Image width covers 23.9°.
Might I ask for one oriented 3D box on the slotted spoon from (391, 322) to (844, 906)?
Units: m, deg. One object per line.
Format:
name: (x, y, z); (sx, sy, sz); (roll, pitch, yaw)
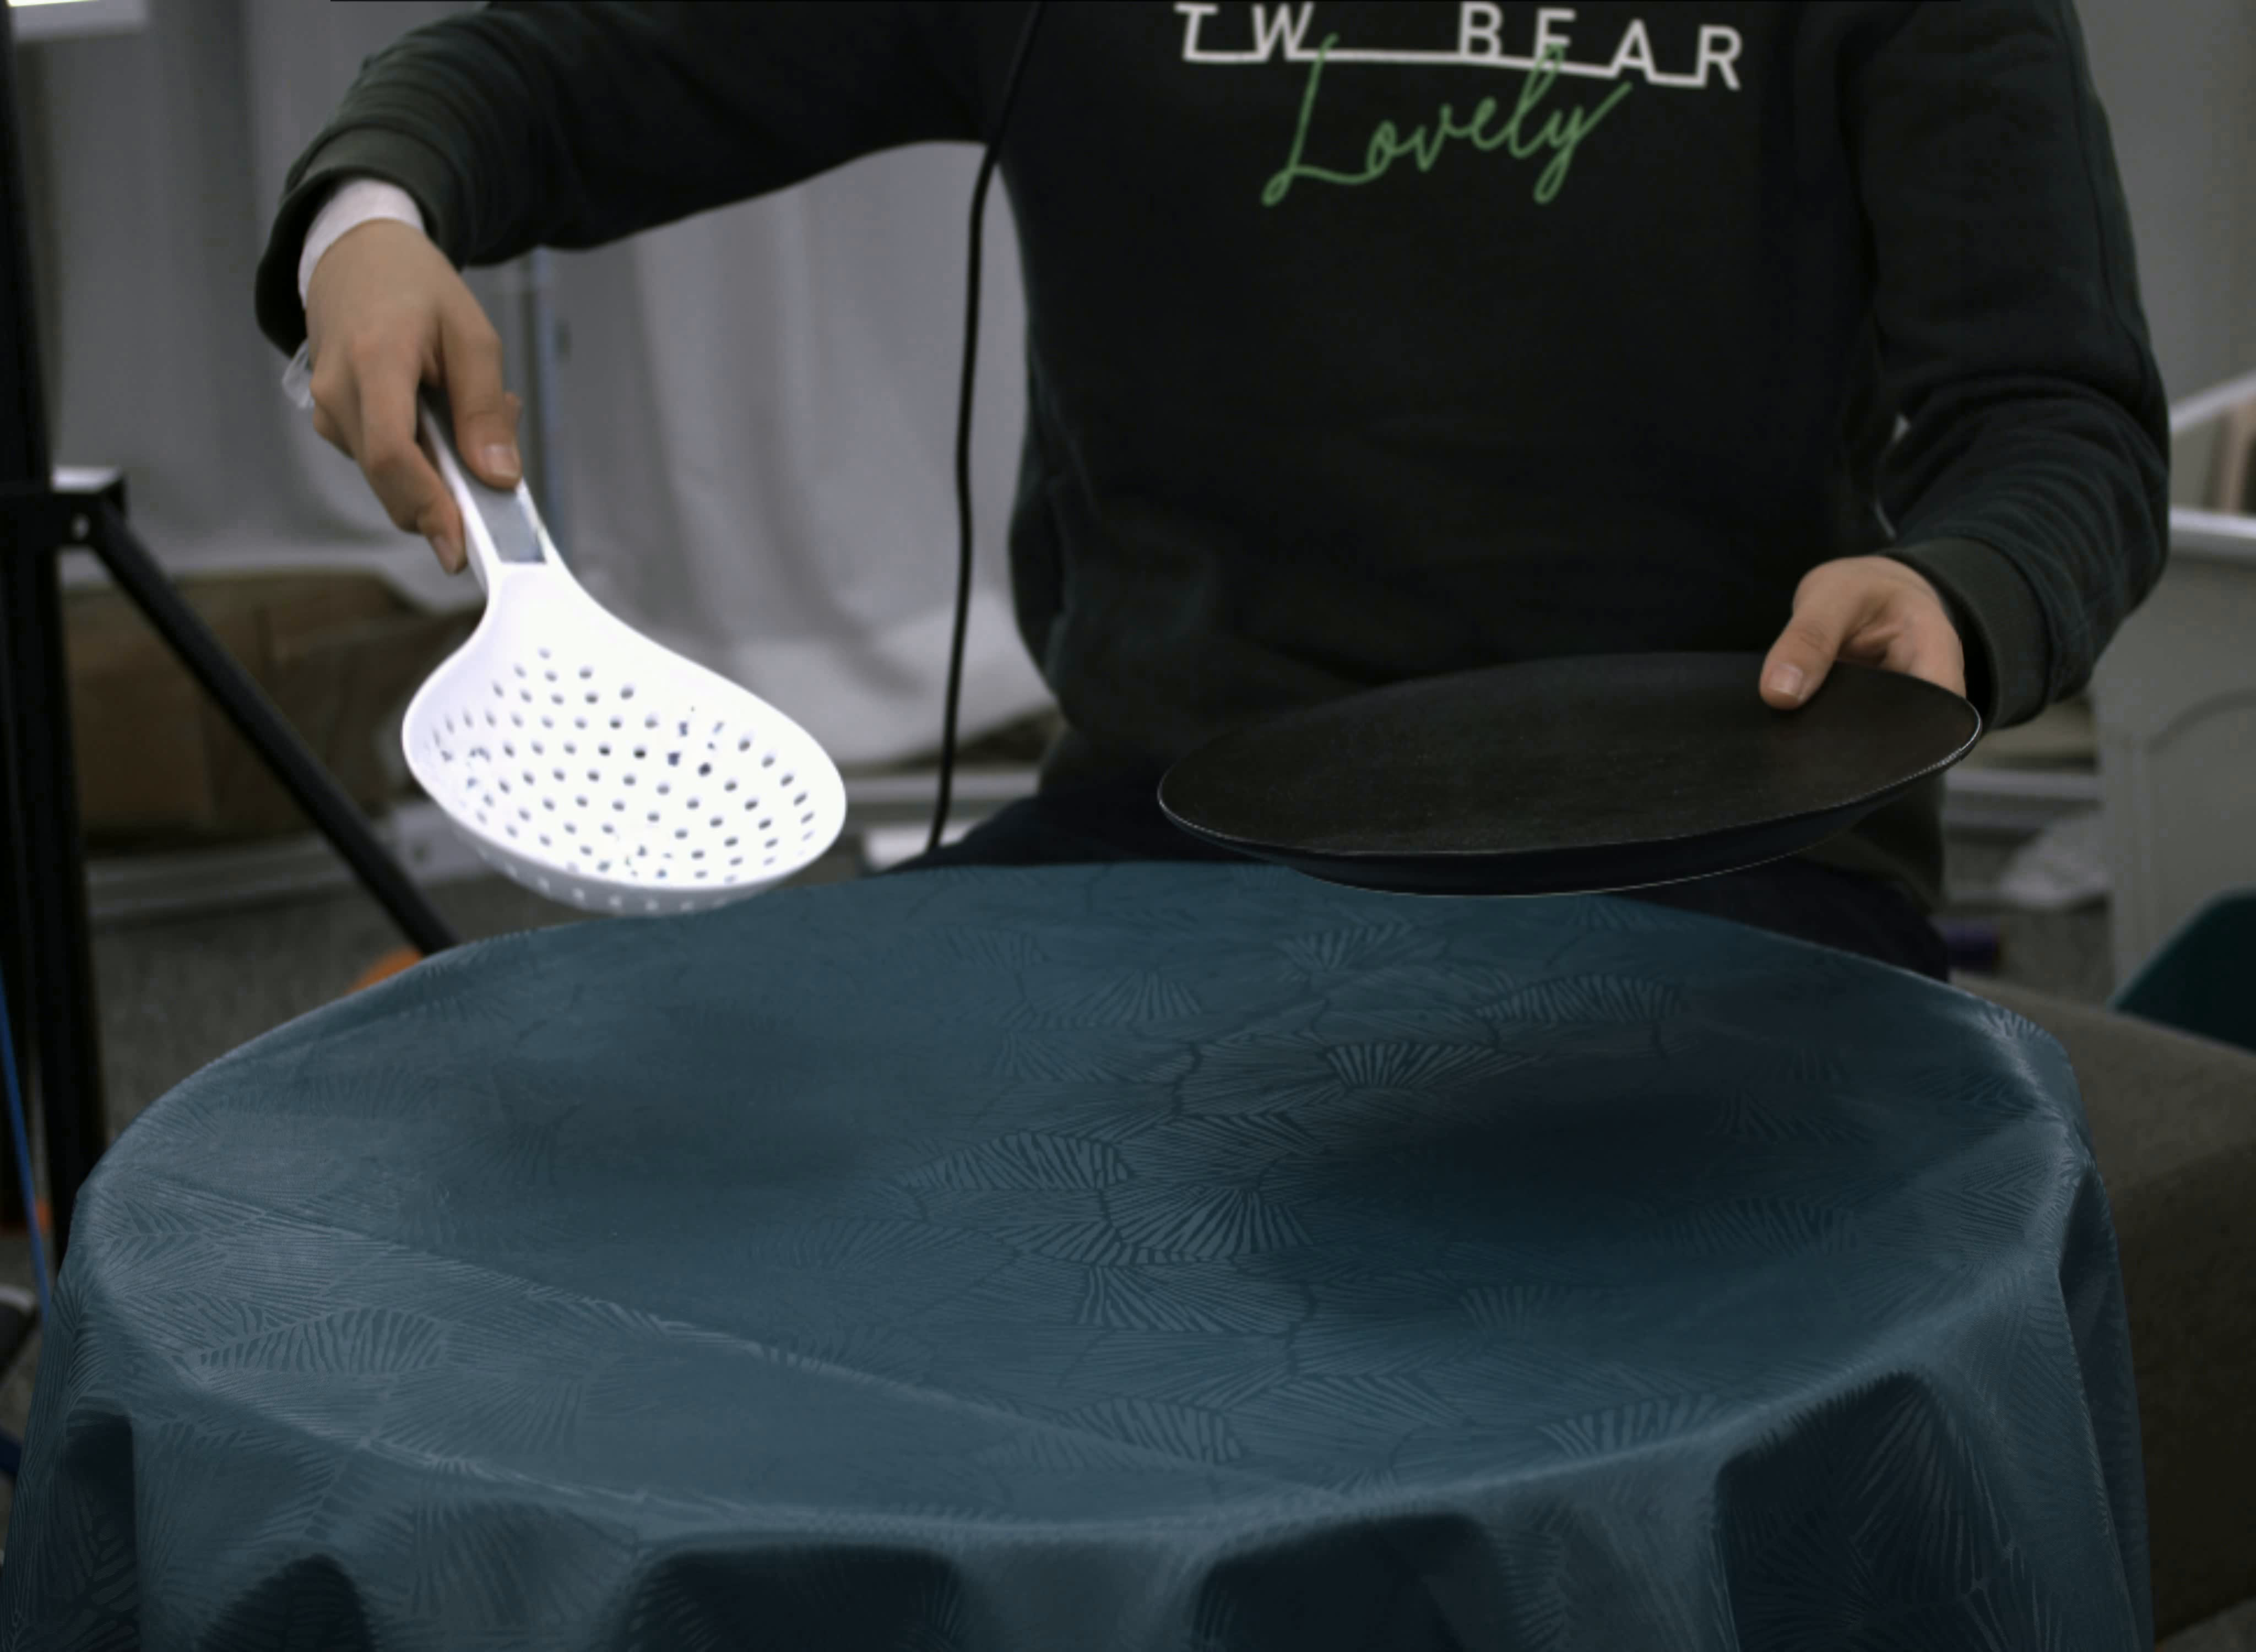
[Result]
slotted spoon: (-0.189, -0.074, 1.708); (0.133, 0.046, 0.356); (2, 36, -23)

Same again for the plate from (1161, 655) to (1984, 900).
plate: (0.131, -0.013, 1.570); (0.243, 0.023, 0.245); (-6, 14, 0)
